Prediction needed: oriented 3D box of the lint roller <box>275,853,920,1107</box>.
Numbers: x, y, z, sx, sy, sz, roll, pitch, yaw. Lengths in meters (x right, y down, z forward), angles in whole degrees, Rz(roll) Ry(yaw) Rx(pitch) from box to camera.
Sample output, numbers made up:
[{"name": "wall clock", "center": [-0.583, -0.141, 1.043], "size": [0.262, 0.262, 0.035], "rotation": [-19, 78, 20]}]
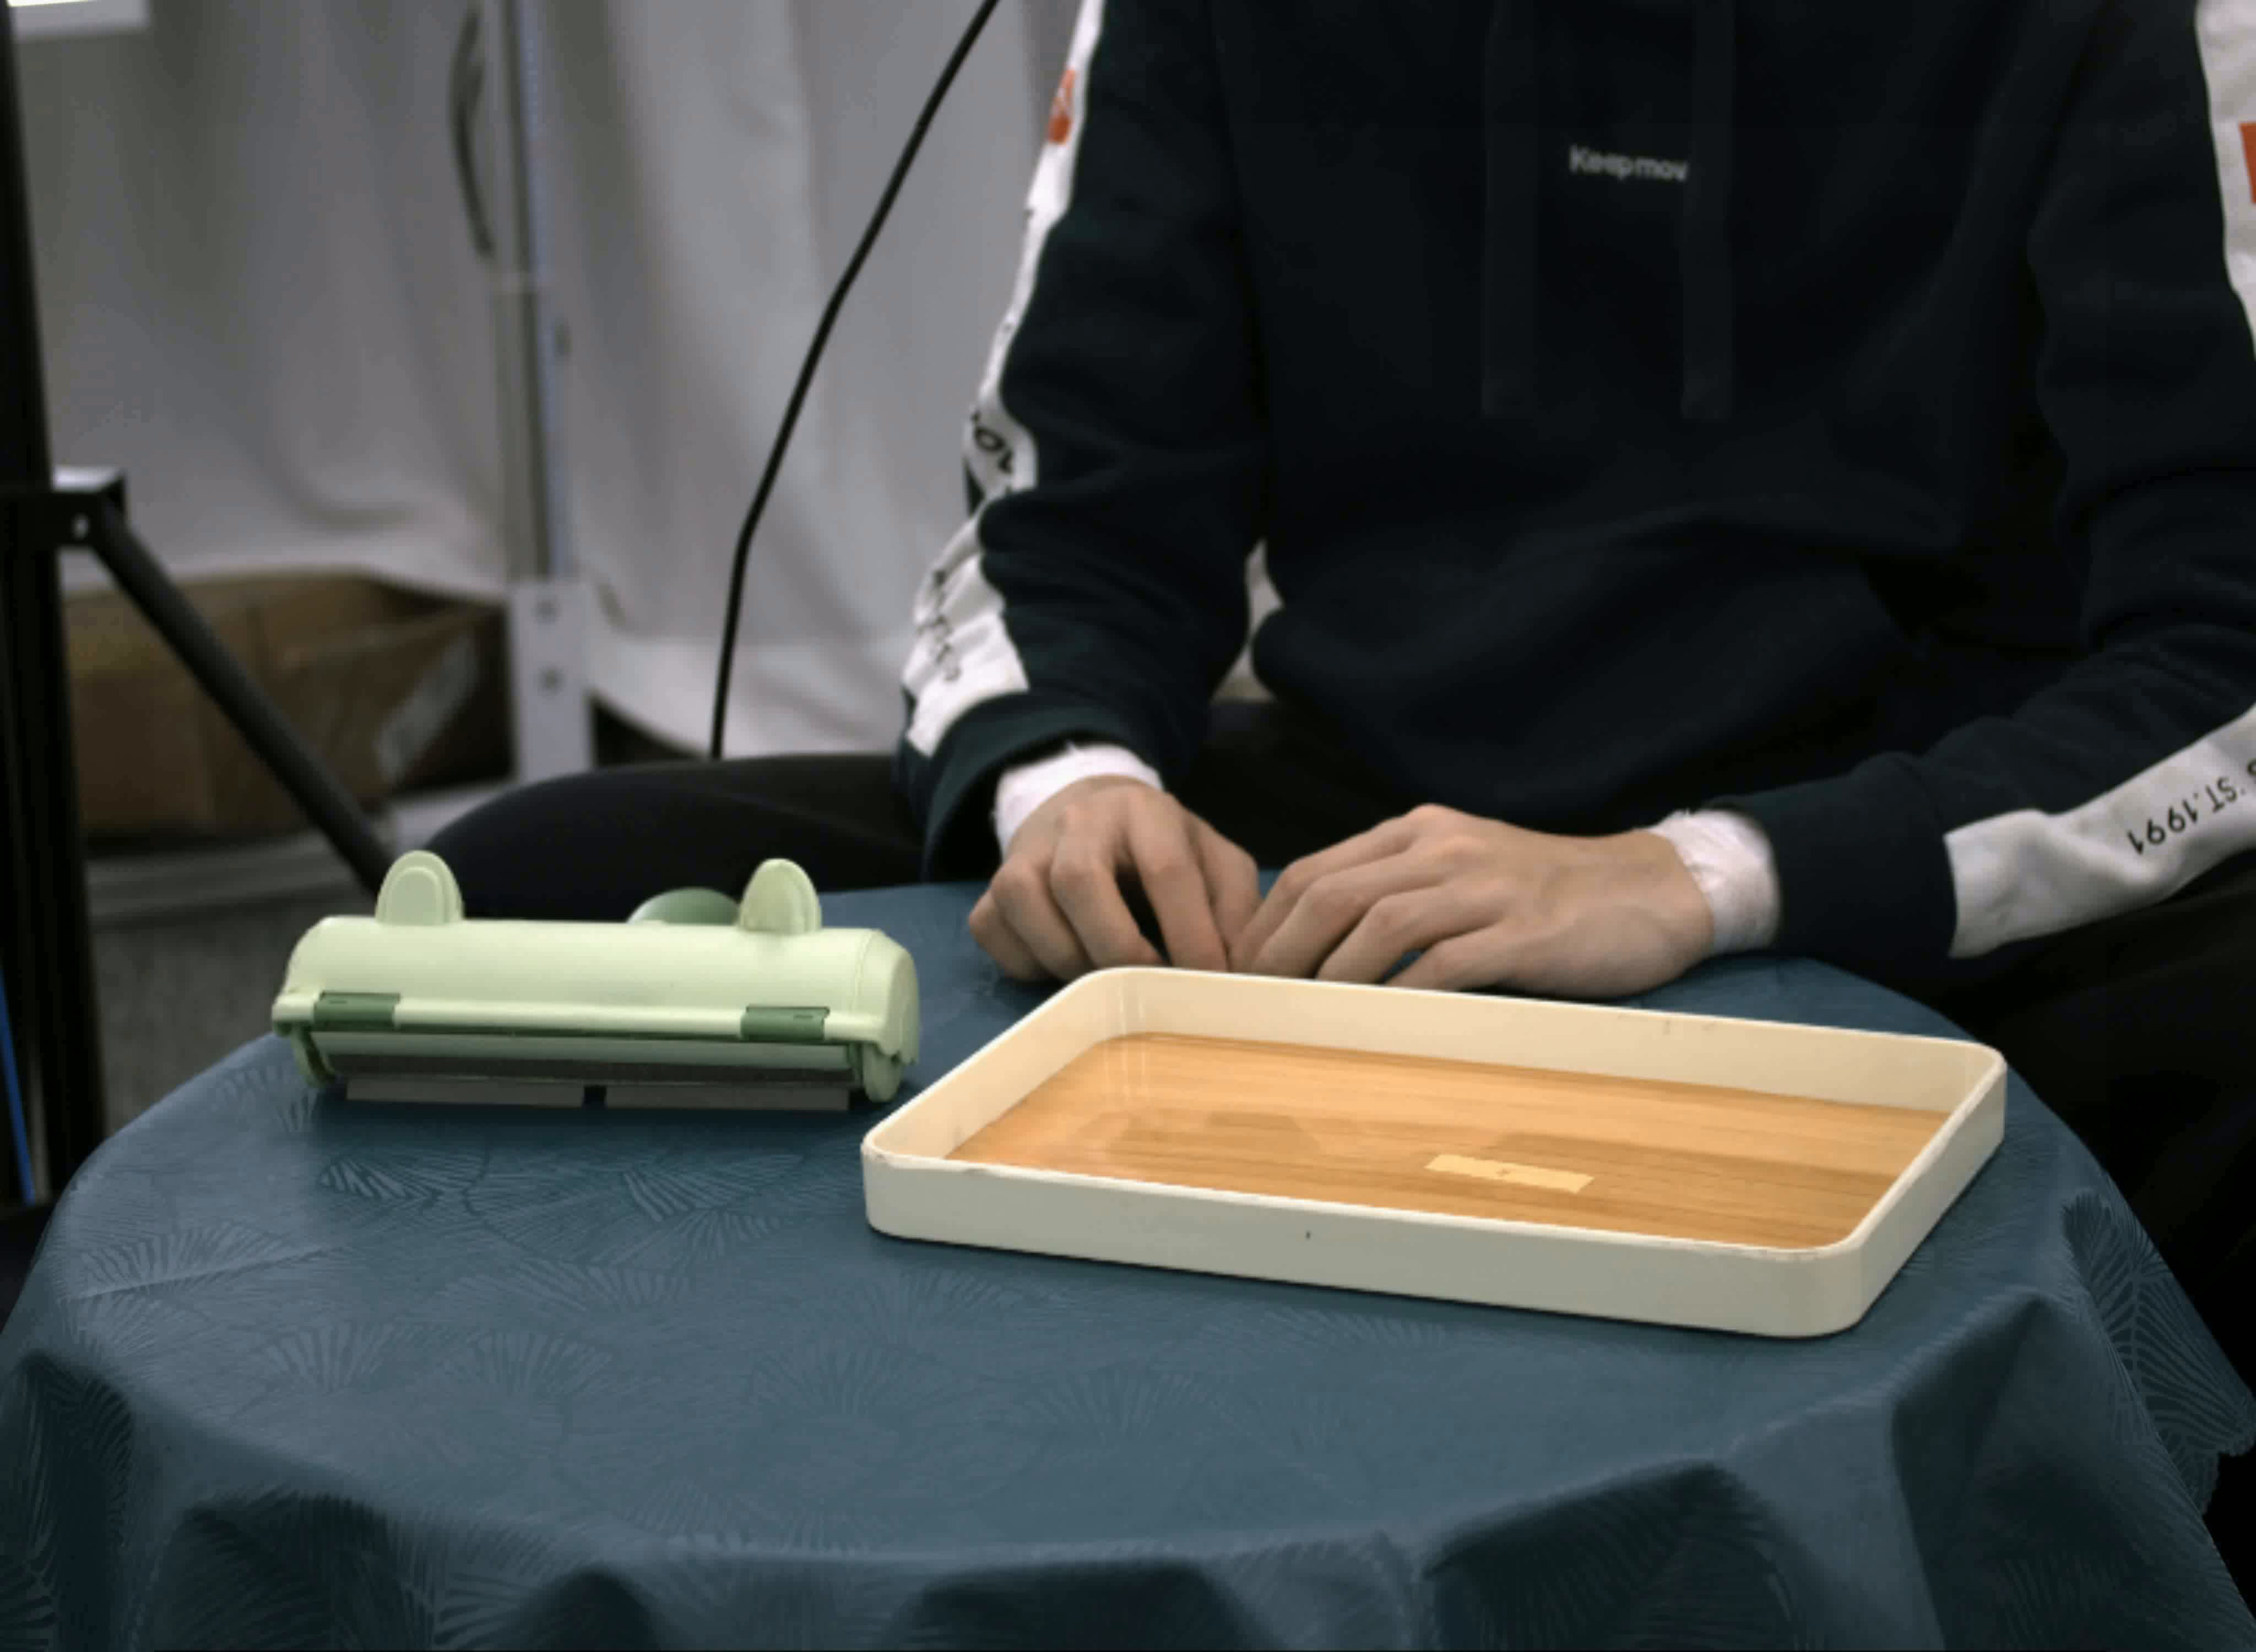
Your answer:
[{"name": "lint roller", "center": [-0.155, 0.032, 1.713], "size": [0.200, 0.082, 0.182], "rotation": [1, 20, 12]}]

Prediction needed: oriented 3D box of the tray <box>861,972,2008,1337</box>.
[{"name": "tray", "center": [0.091, 0.093, 1.547], "size": [0.305, 0.027, 0.189], "rotation": [5, 17, 25]}]
